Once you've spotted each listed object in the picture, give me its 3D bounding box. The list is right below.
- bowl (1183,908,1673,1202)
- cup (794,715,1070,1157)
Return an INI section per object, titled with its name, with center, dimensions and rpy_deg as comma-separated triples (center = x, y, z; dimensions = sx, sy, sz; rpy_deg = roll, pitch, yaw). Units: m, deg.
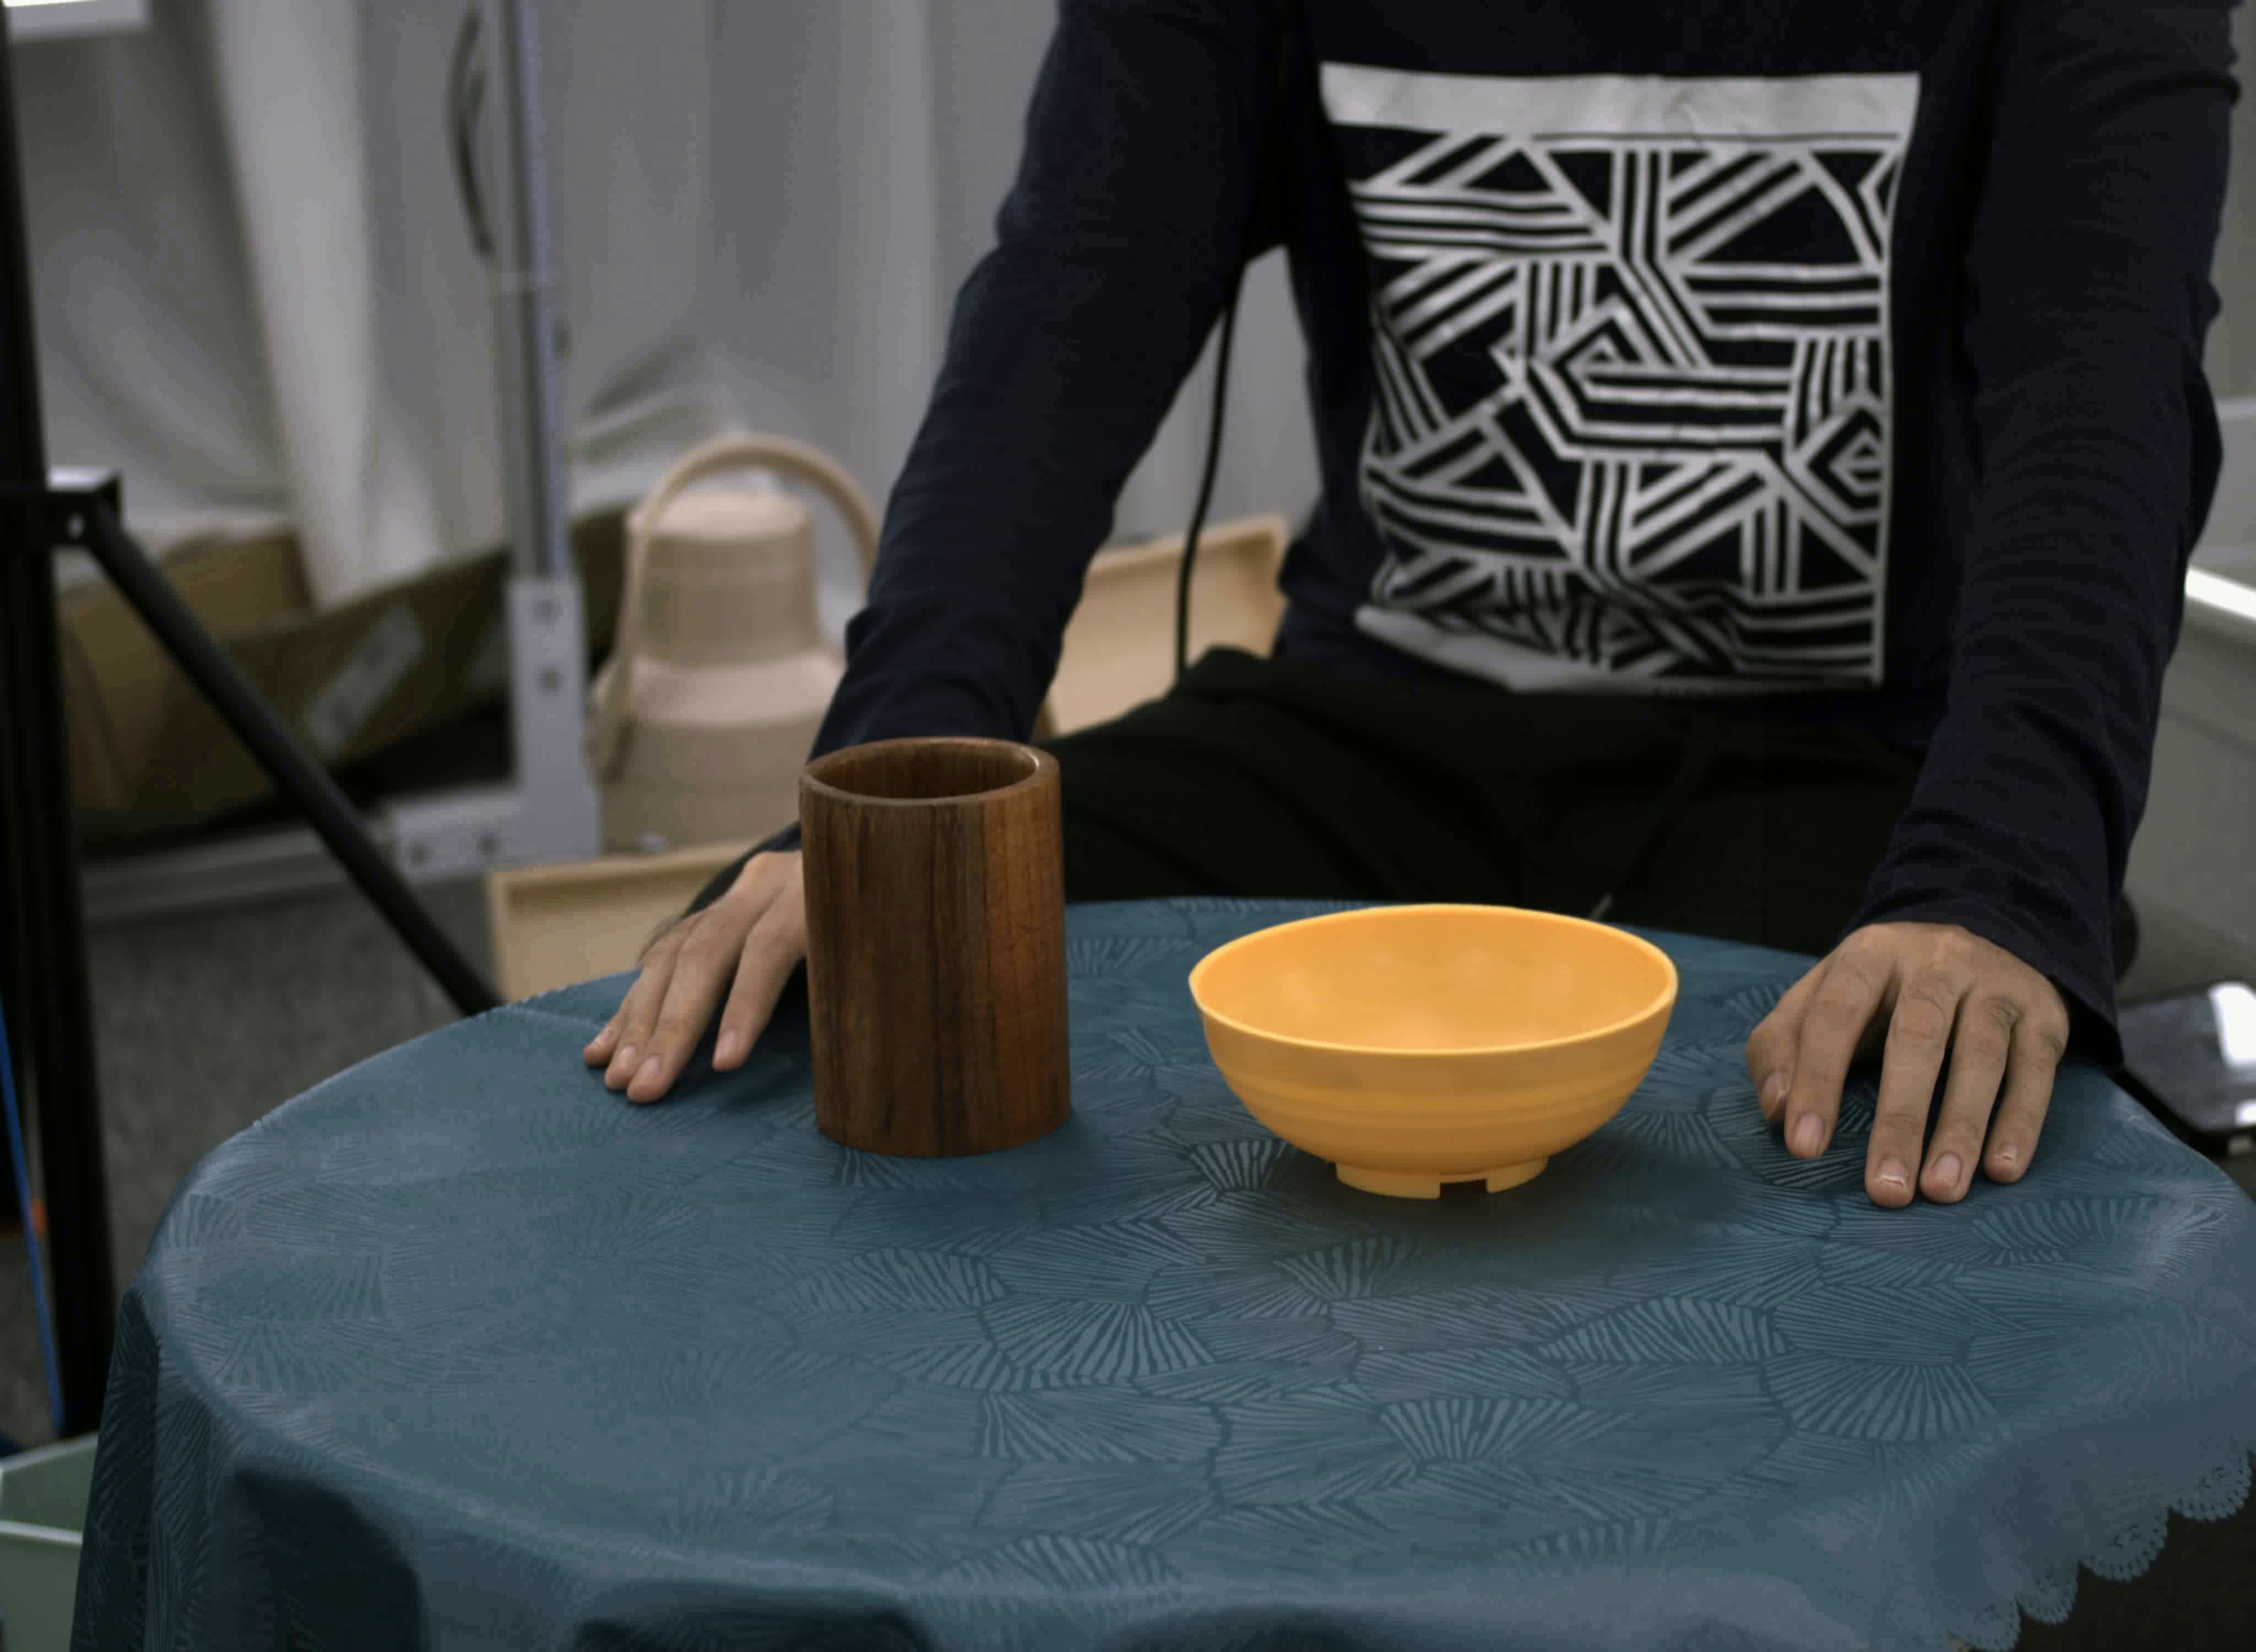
[bowl]
center = 0.088, 0.073, 1.567
dimensions = 0.144, 0.060, 0.146
rpy_deg = -1, 15, -1
[cup]
center = -0.061, 0.032, 1.623
dimensions = 0.087, 0.118, 0.088
rpy_deg = 0, 15, -1
